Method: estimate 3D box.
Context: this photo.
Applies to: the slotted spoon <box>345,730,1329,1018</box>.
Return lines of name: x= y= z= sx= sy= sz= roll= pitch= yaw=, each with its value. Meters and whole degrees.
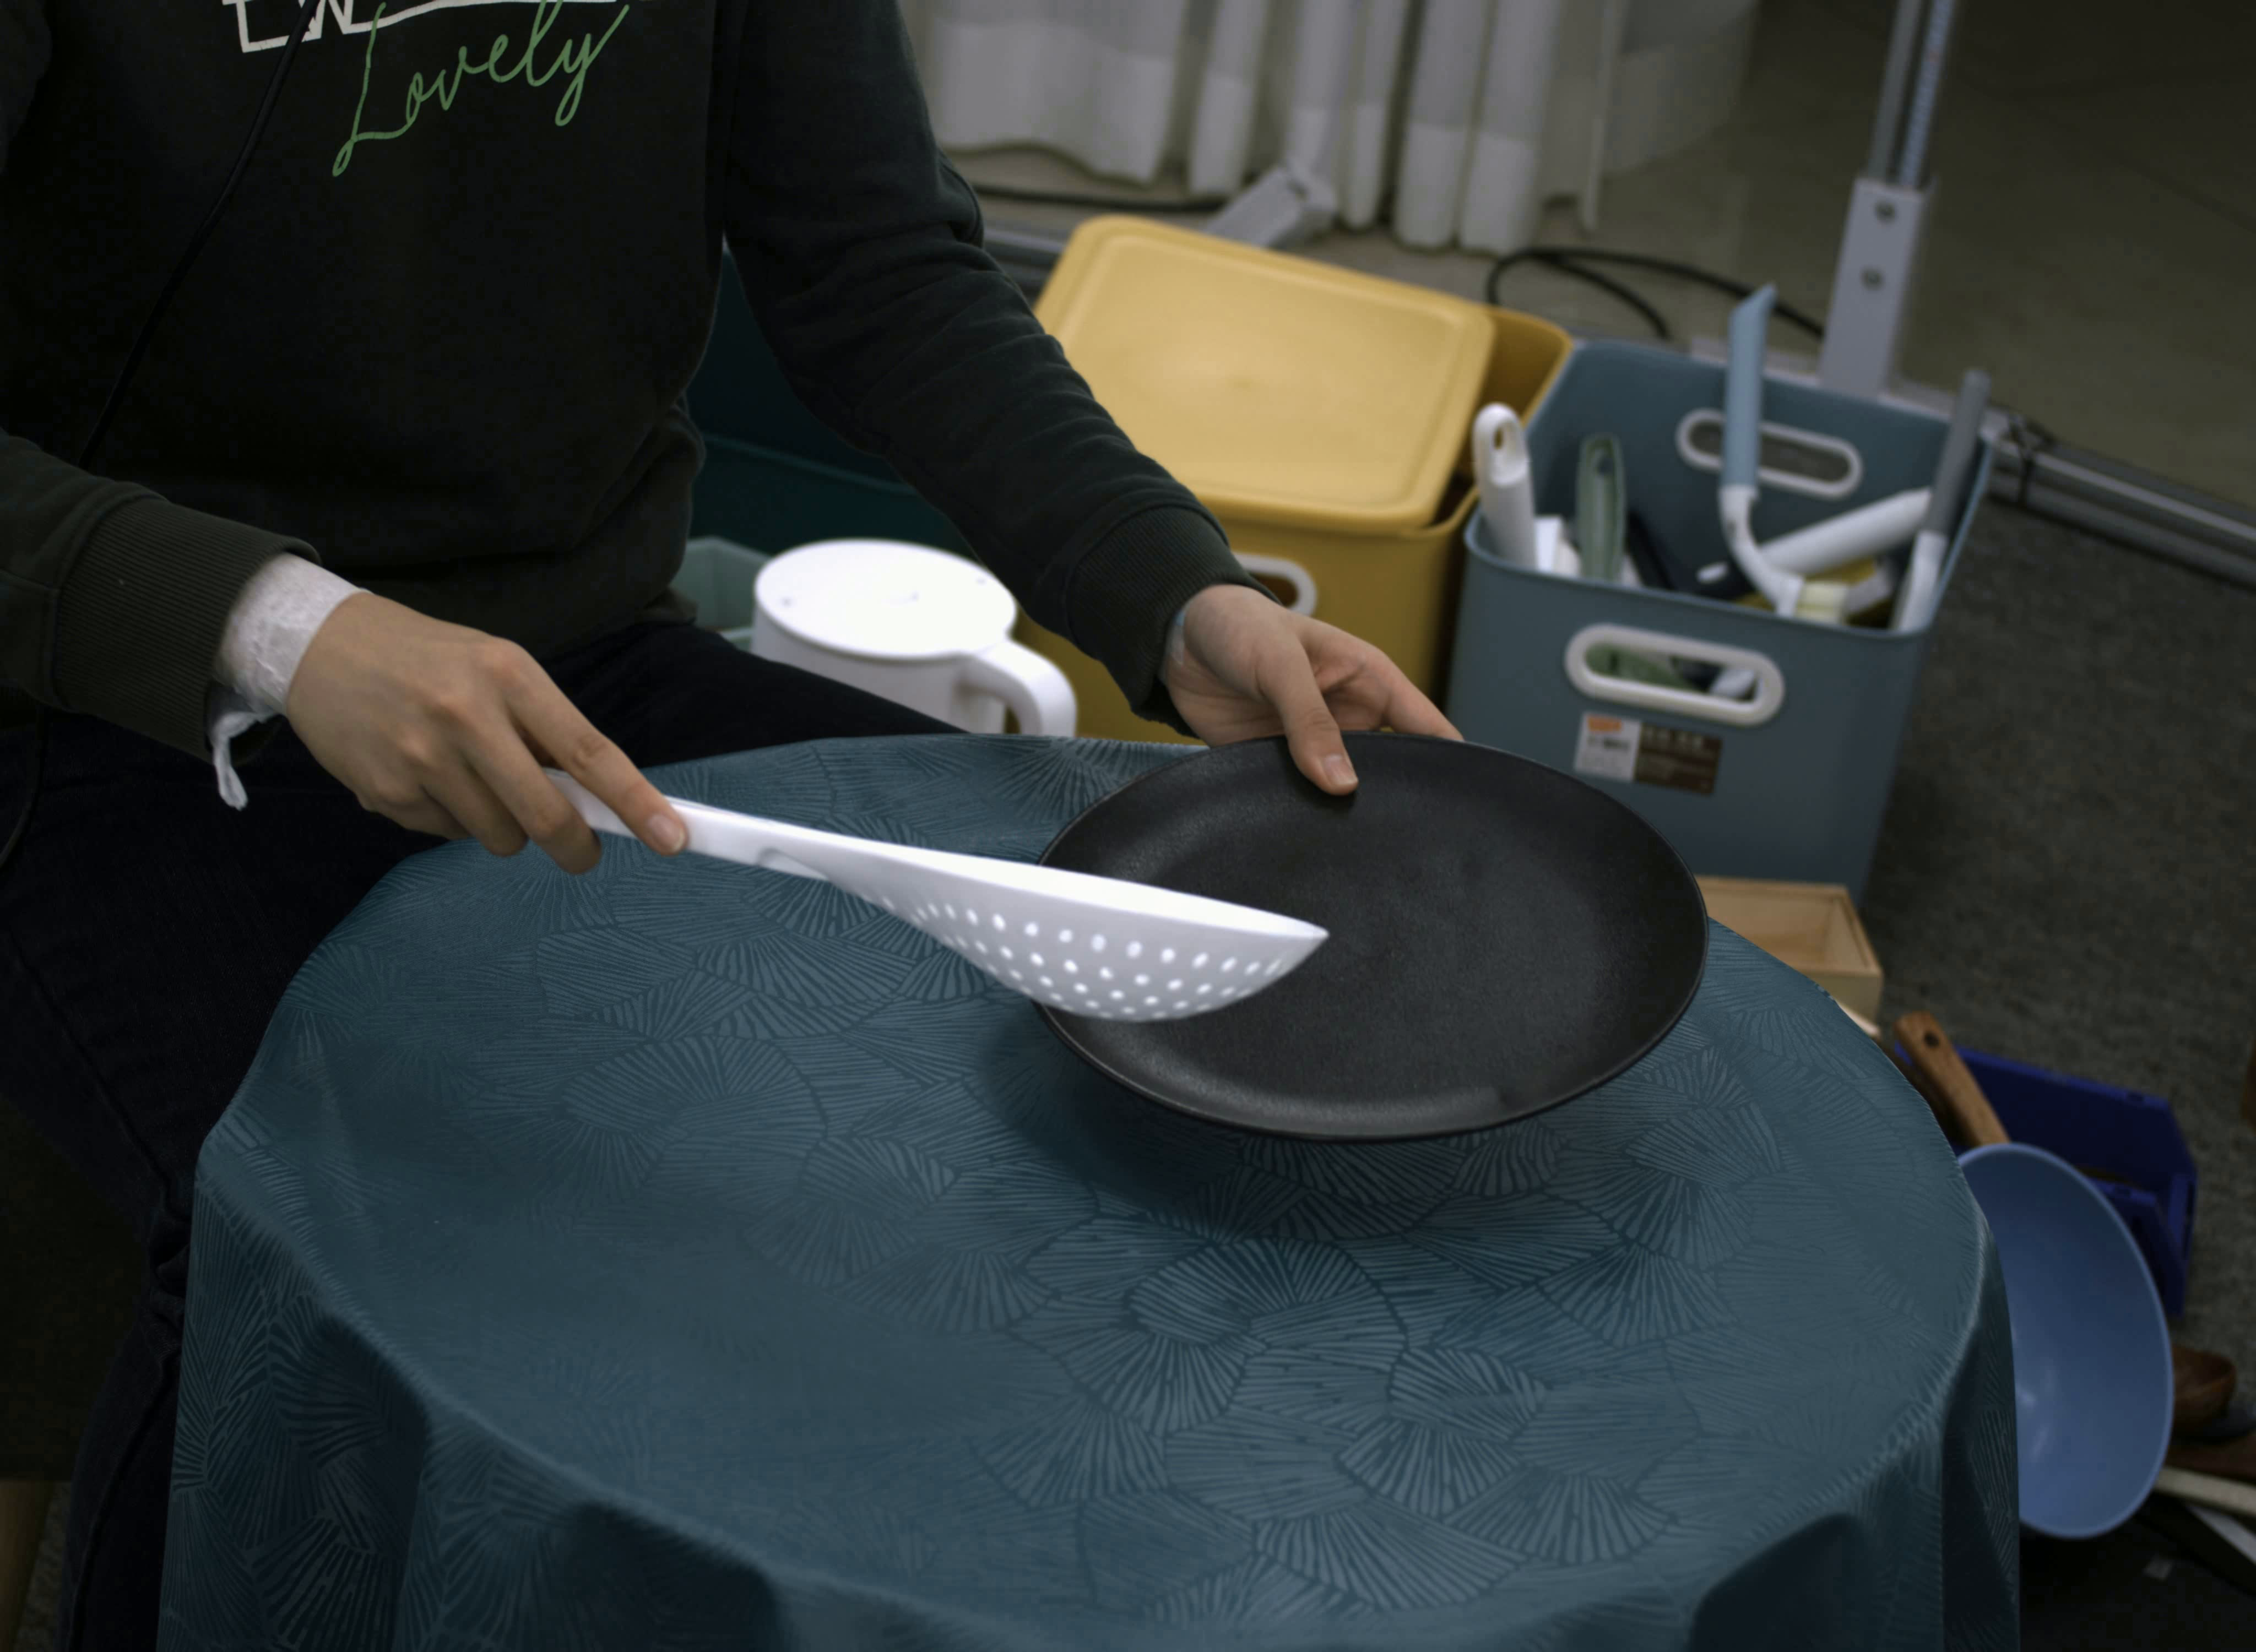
slotted spoon: x=-0.101 y=0.007 z=1.704 sx=0.351 sy=0.046 sz=0.135 roll=17 pitch=3 yaw=25

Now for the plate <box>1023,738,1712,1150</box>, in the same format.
plate: x=0.083 y=0.044 z=1.865 sx=0.244 sy=0.023 sz=0.246 roll=-2 pitch=34 yaw=1
